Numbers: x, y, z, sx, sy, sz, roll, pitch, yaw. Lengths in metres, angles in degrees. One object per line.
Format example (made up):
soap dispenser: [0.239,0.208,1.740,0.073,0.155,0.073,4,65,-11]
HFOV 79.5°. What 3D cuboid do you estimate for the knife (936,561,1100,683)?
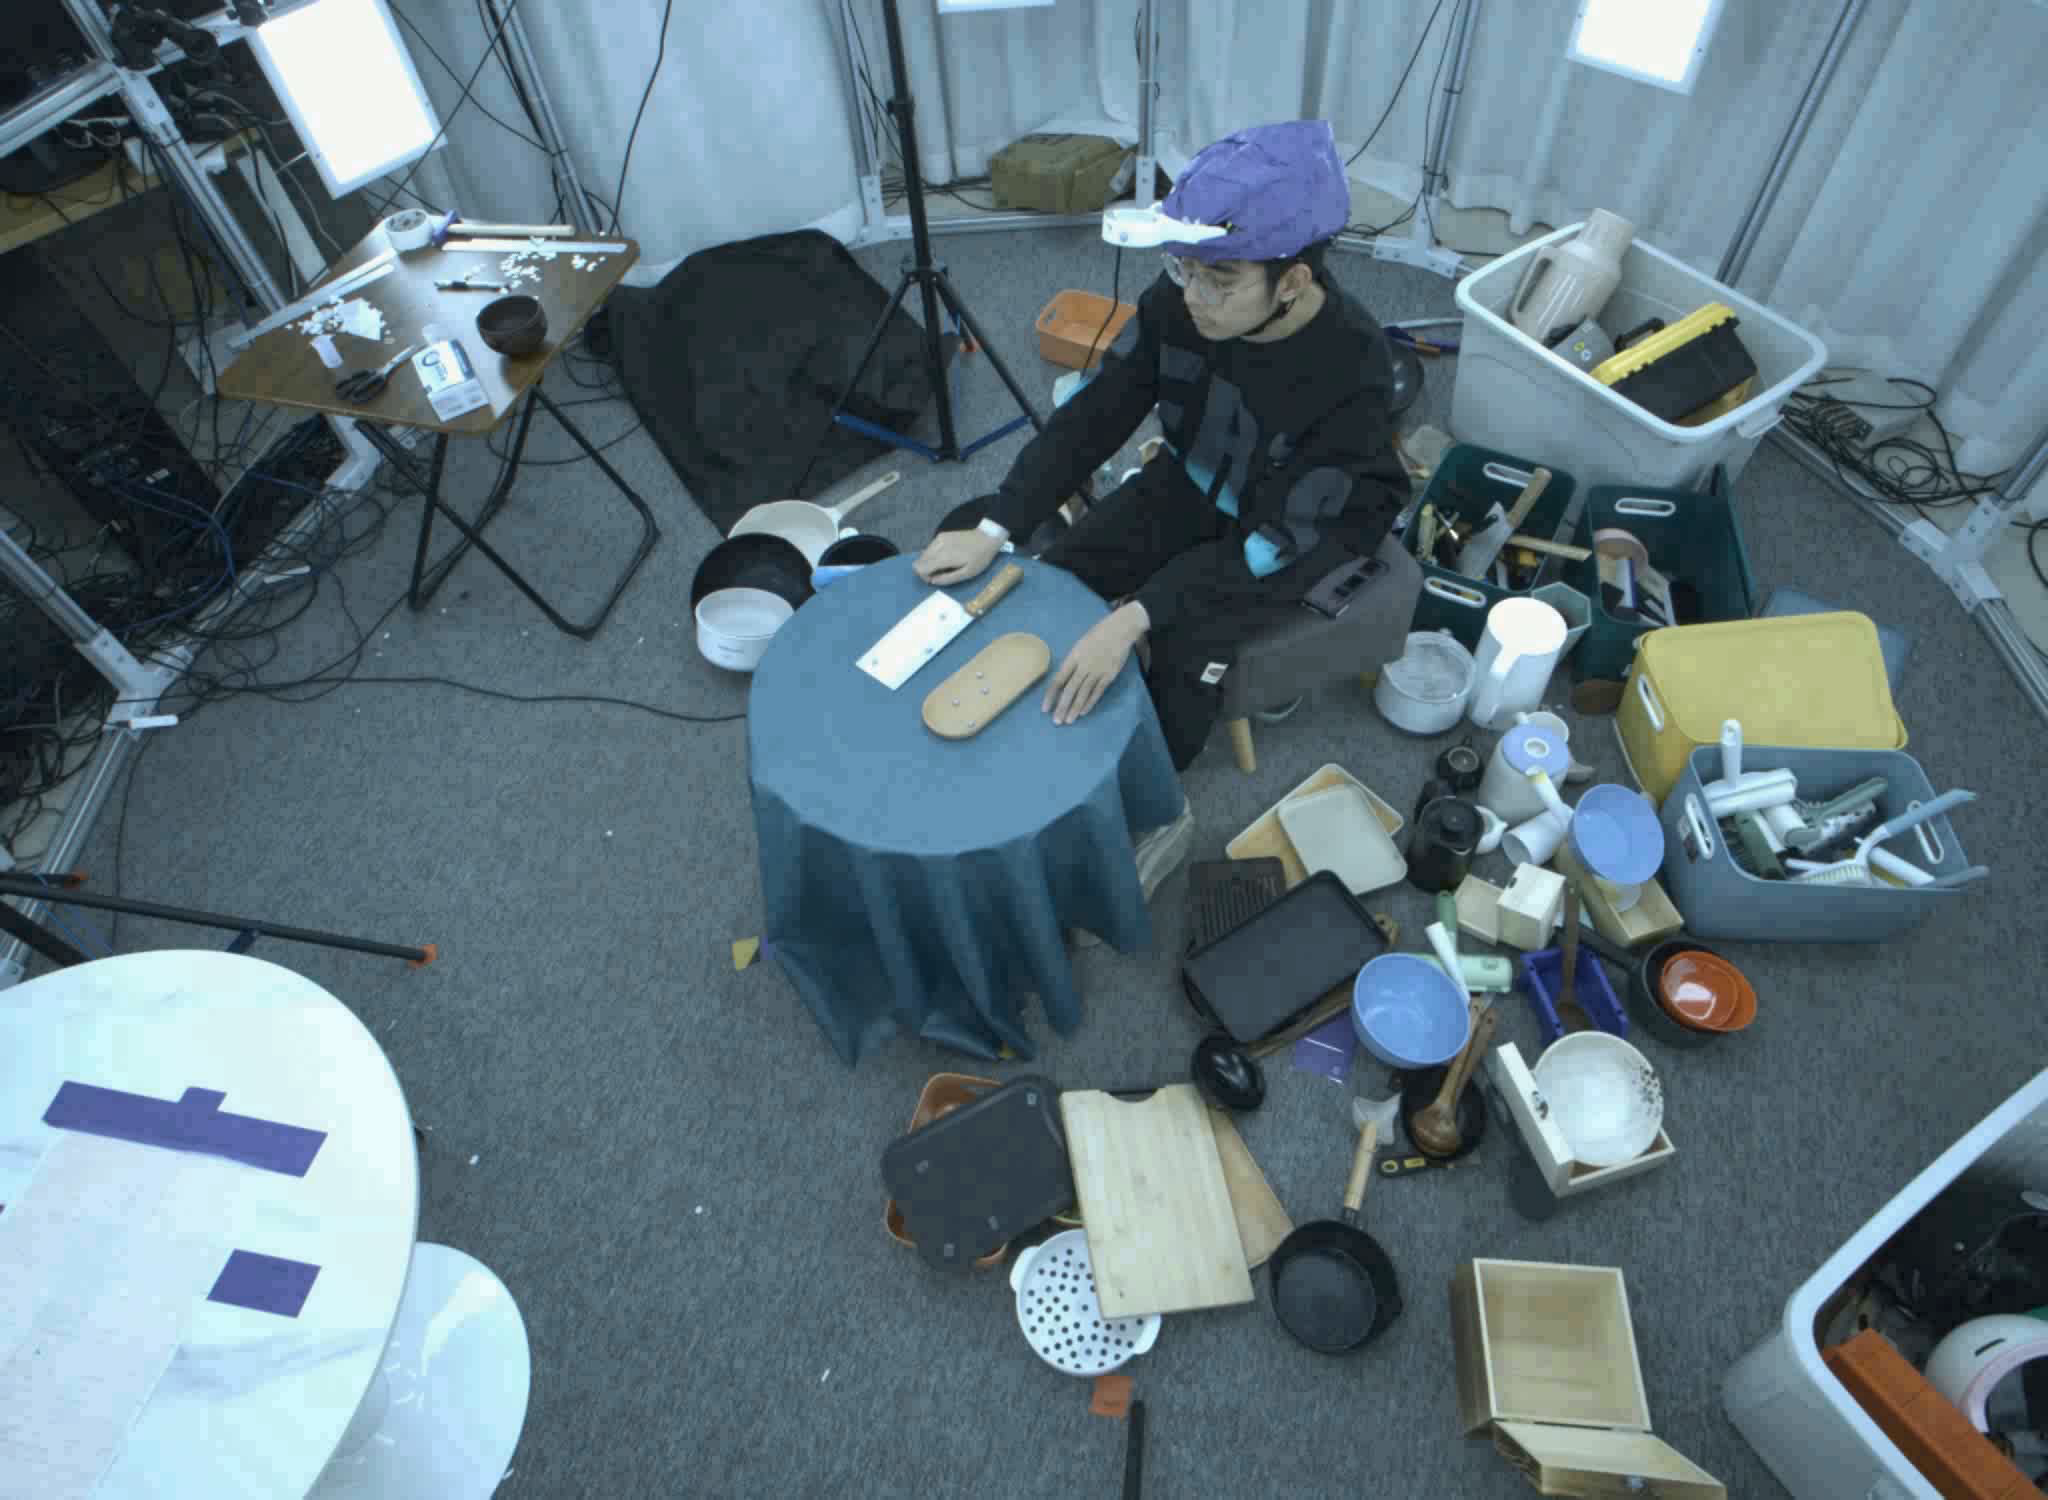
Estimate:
knife: [-0.013,-0.215,1.930,0.307,0.021,0.091,-41,61,-21]

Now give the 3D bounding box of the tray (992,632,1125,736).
tray: [0.053,-0.100,1.845,0.233,0.020,0.100,-36,62,-22]
